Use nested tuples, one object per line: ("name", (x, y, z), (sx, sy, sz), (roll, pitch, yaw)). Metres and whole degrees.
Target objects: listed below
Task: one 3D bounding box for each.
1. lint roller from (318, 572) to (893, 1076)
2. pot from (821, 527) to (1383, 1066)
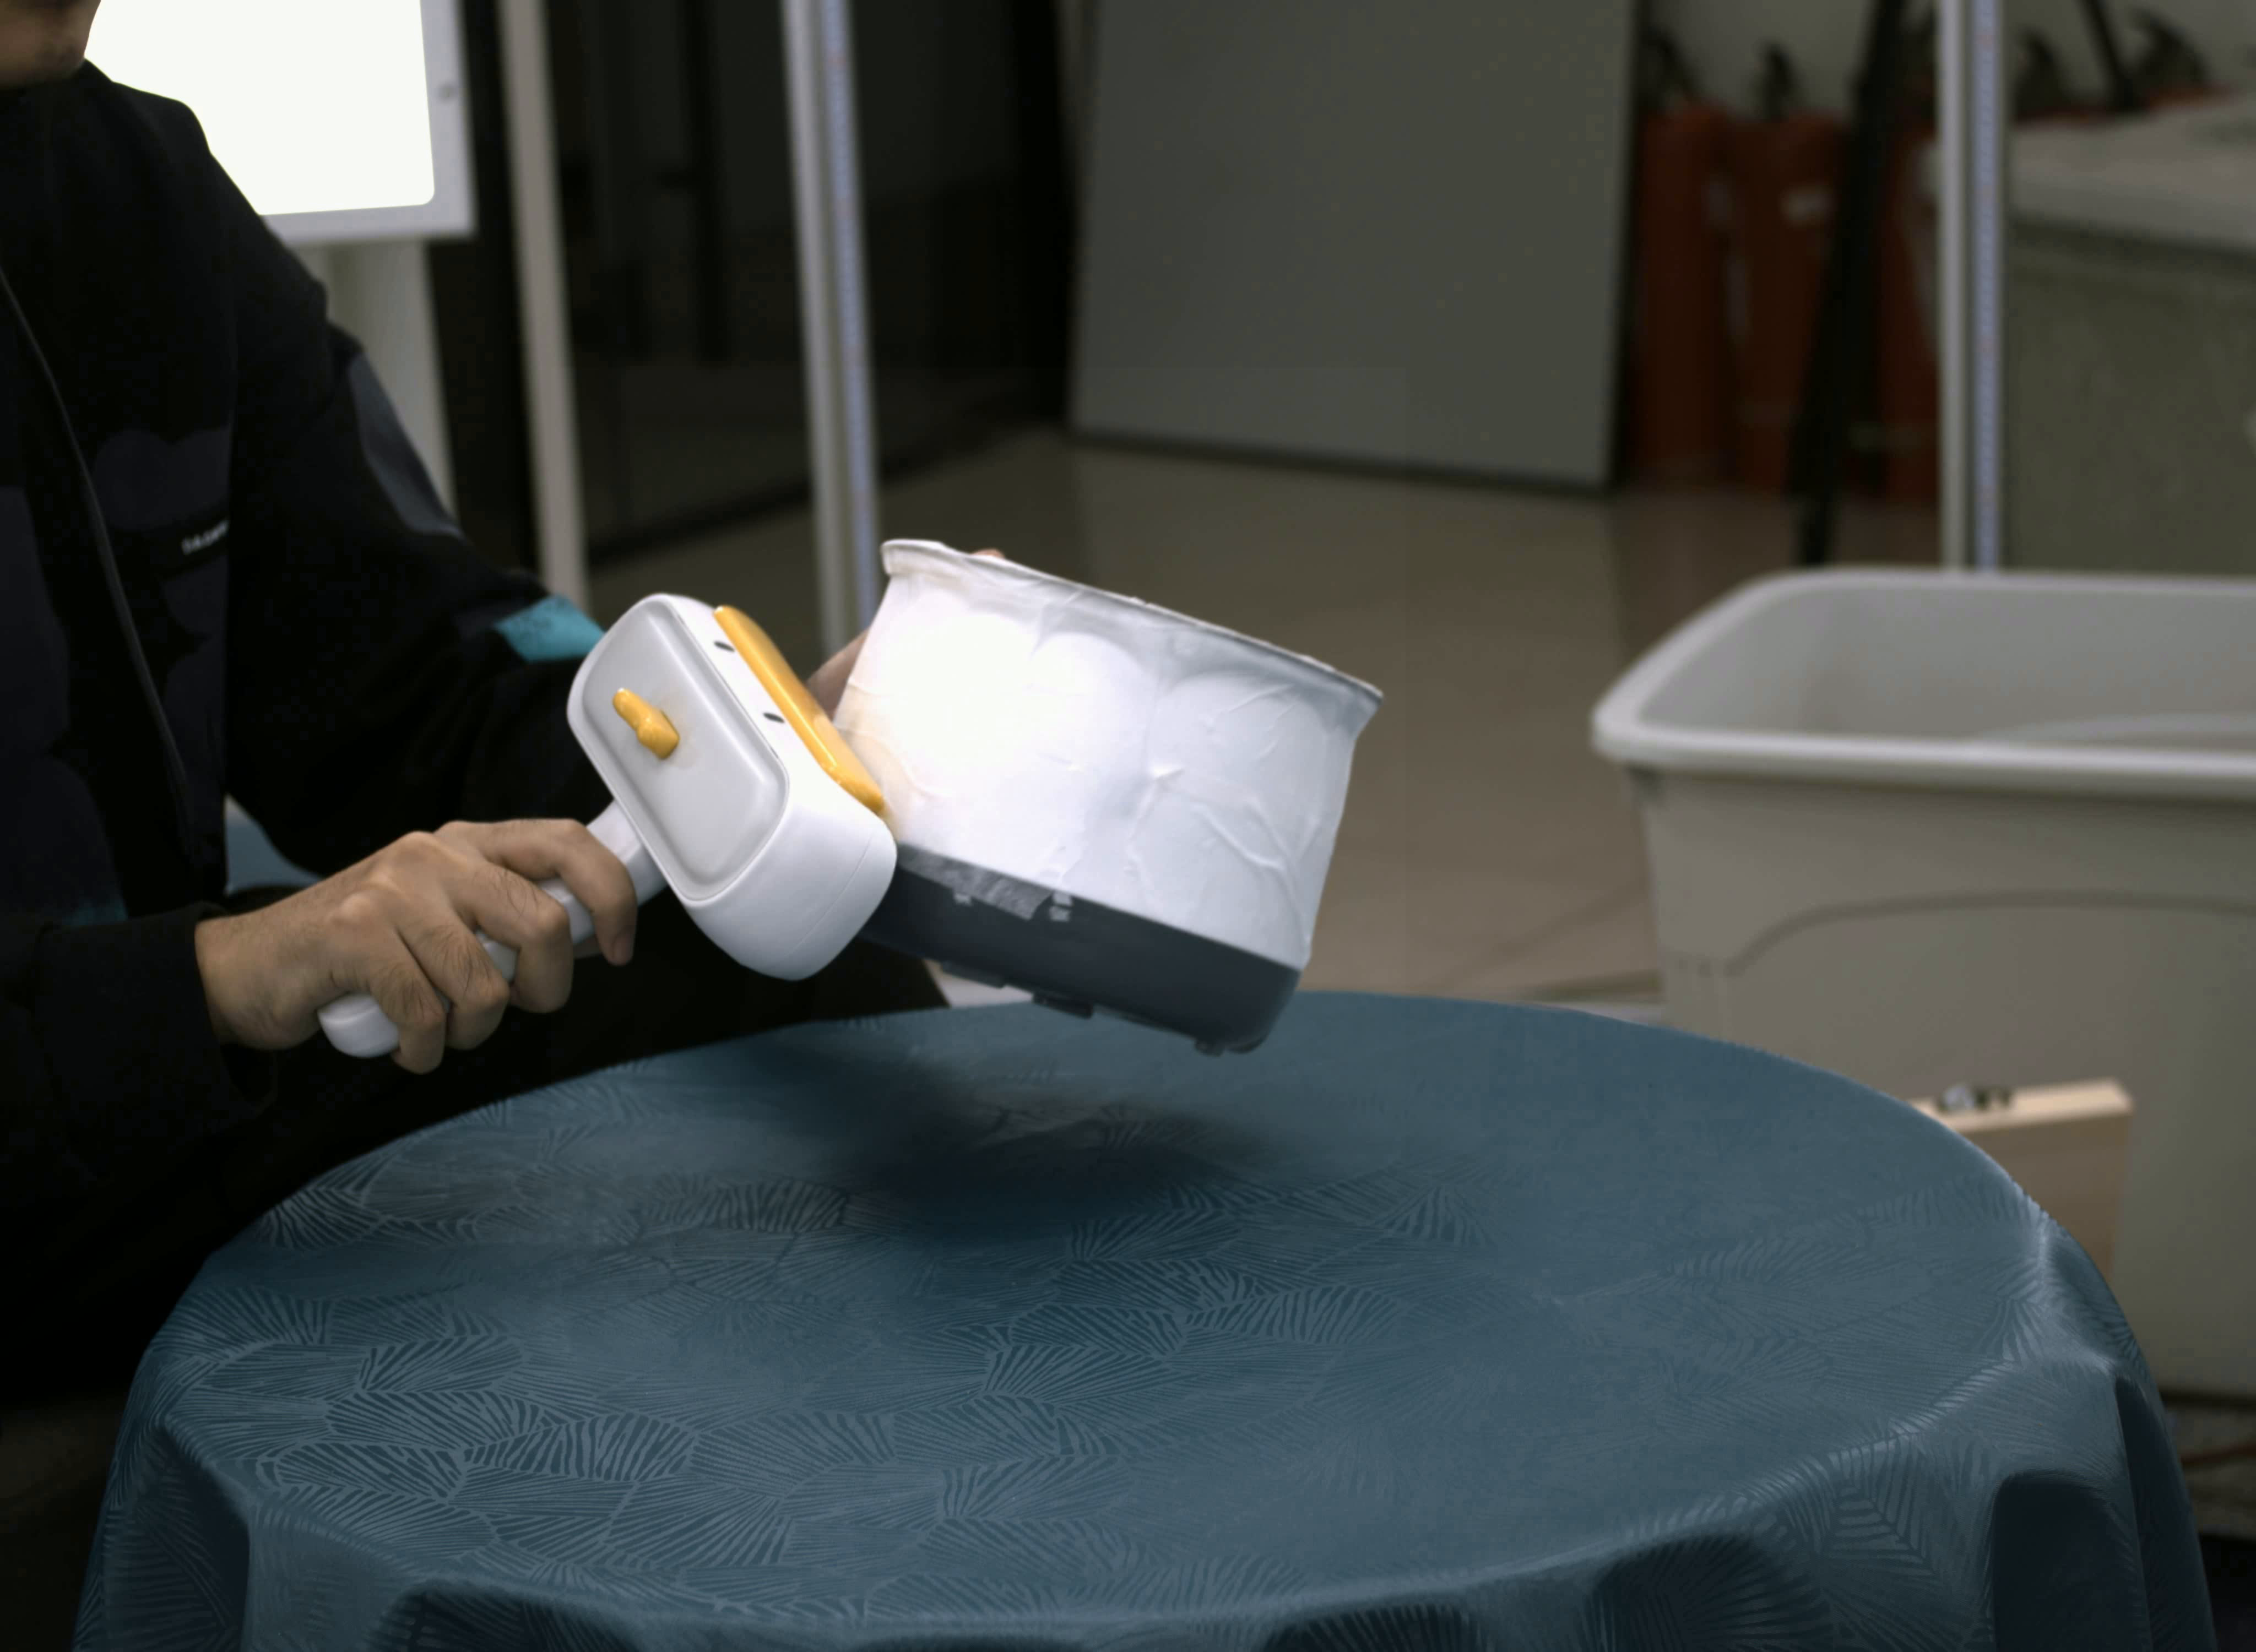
("lint roller", (-0.178, 0.016, 1.762), (0.192, 0.073, 0.195), (-45, 37, 0))
("pot", (-0.032, -0.012, 1.817), (0.175, 0.138, 0.236), (21, -3, -32))
